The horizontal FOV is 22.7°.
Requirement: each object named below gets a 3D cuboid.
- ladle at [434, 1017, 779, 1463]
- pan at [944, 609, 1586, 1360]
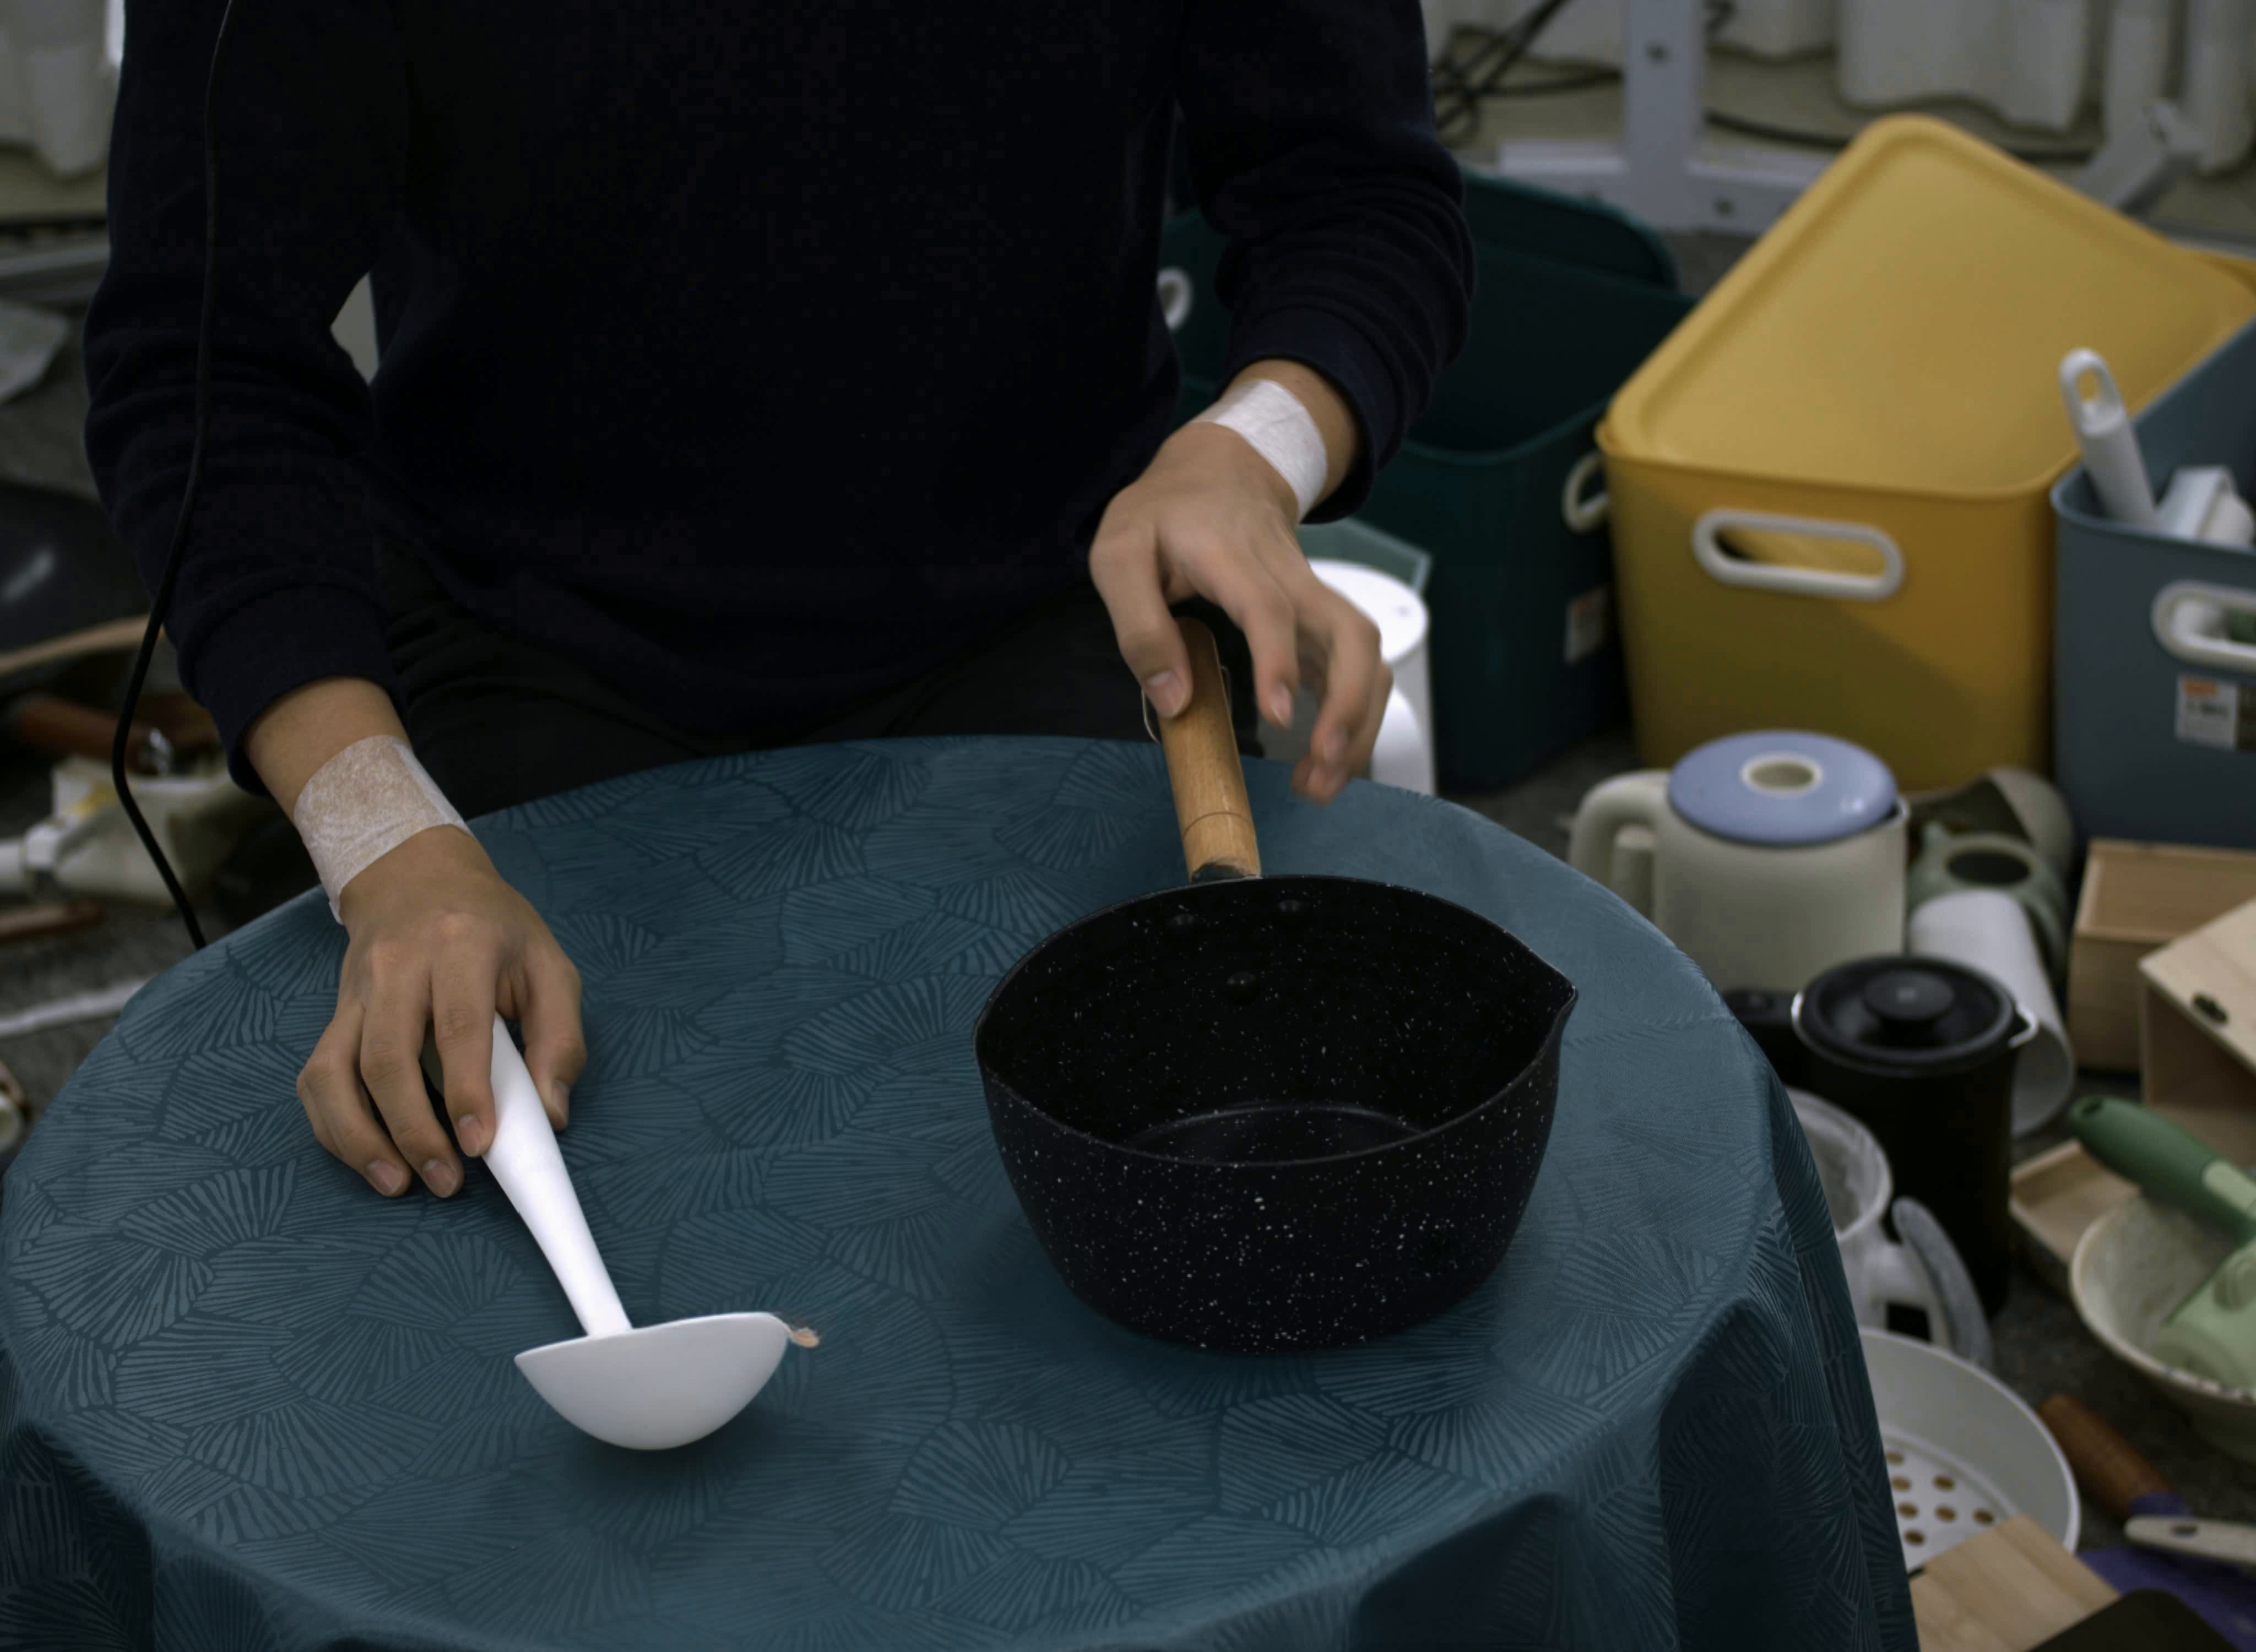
[{"bbox_3d":[-0.184,0.122,1.820,0.090,0.069,0.295,-9,26,-14],"label":"ladle"},{"bbox_3d":[0.037,0.049,1.882,0.207,0.107,0.347,-7,29,-5],"label":"pan"}]
